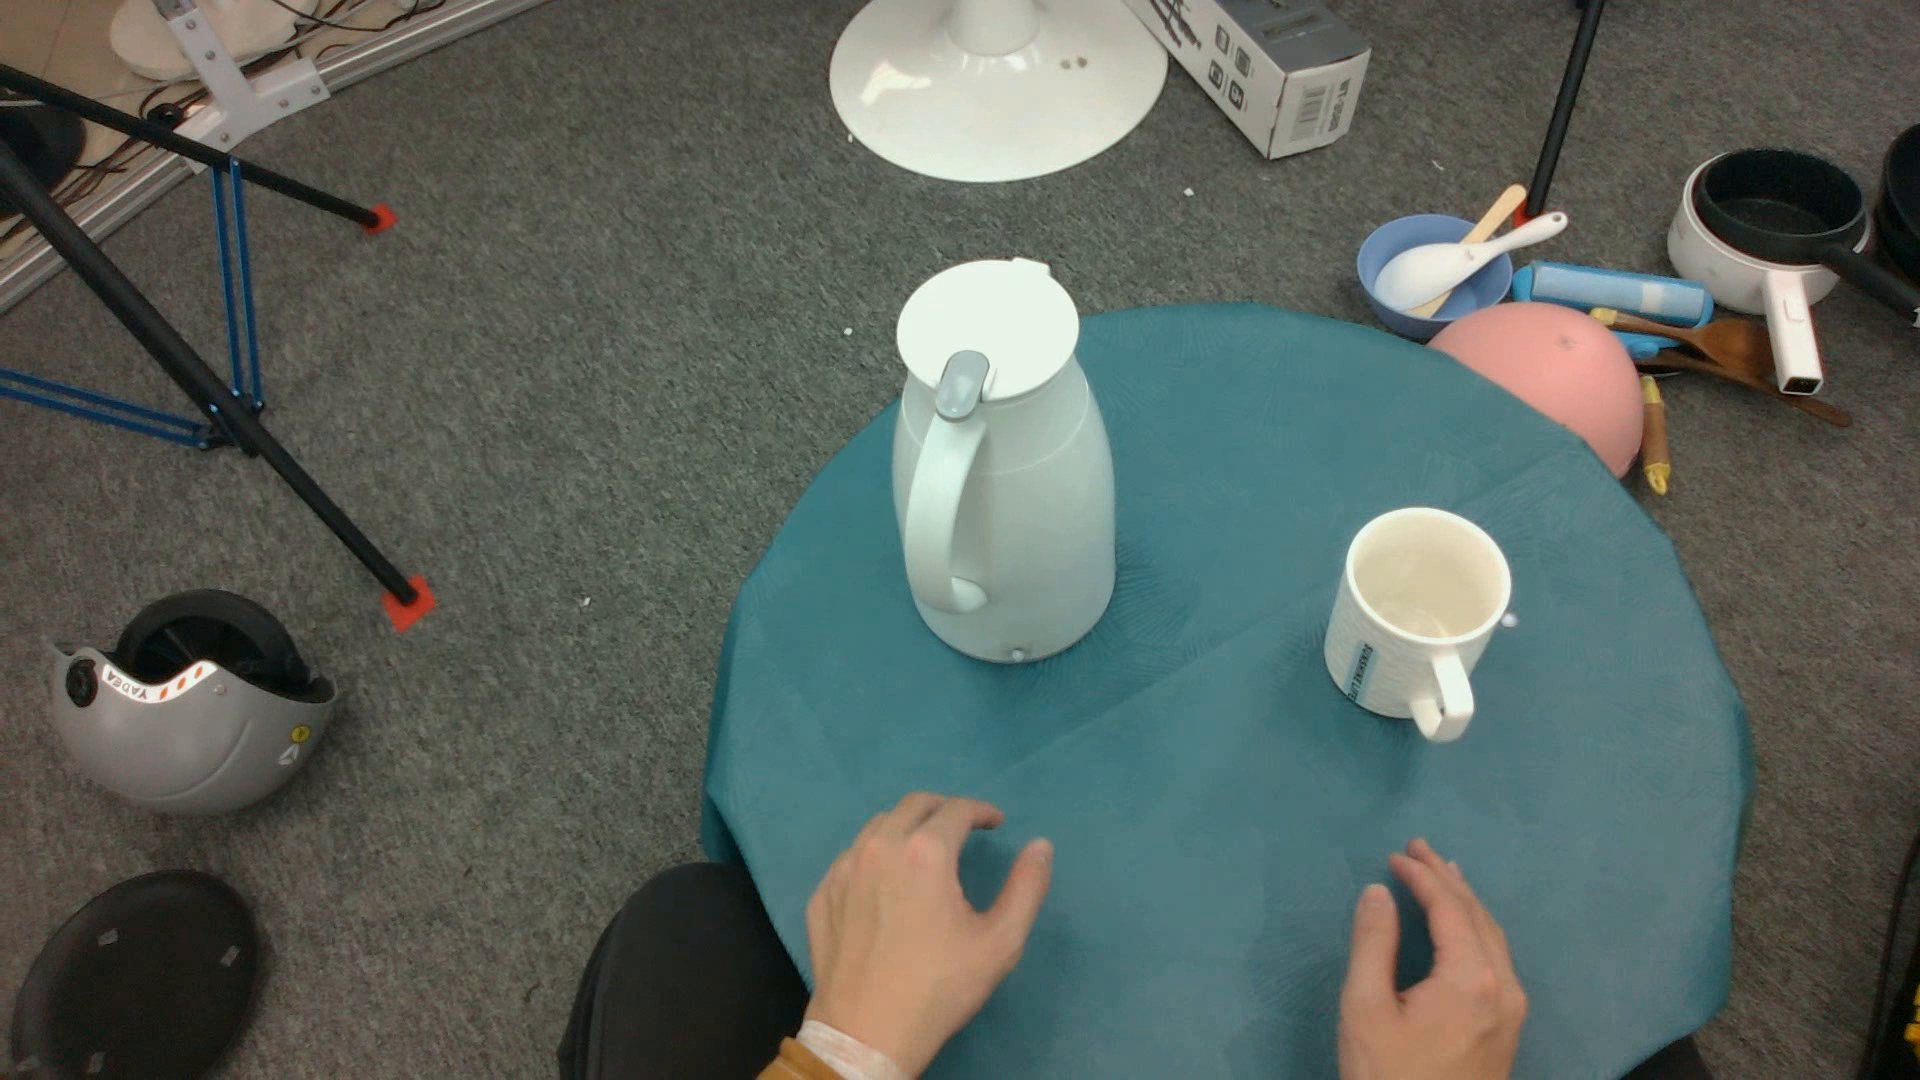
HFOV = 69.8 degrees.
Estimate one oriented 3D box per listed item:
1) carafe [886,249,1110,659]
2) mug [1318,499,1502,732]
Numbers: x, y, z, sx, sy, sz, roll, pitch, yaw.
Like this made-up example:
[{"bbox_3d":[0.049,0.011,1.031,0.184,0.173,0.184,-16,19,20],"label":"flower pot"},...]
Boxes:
[{"bbox_3d":[0.015,-0.032,0.772,0.132,0.247,0.168,15,60,14],"label":"carafe"},{"bbox_3d":[0.257,0.053,0.782,0.085,0.101,0.119,-9,57,-1],"label":"mug"}]
